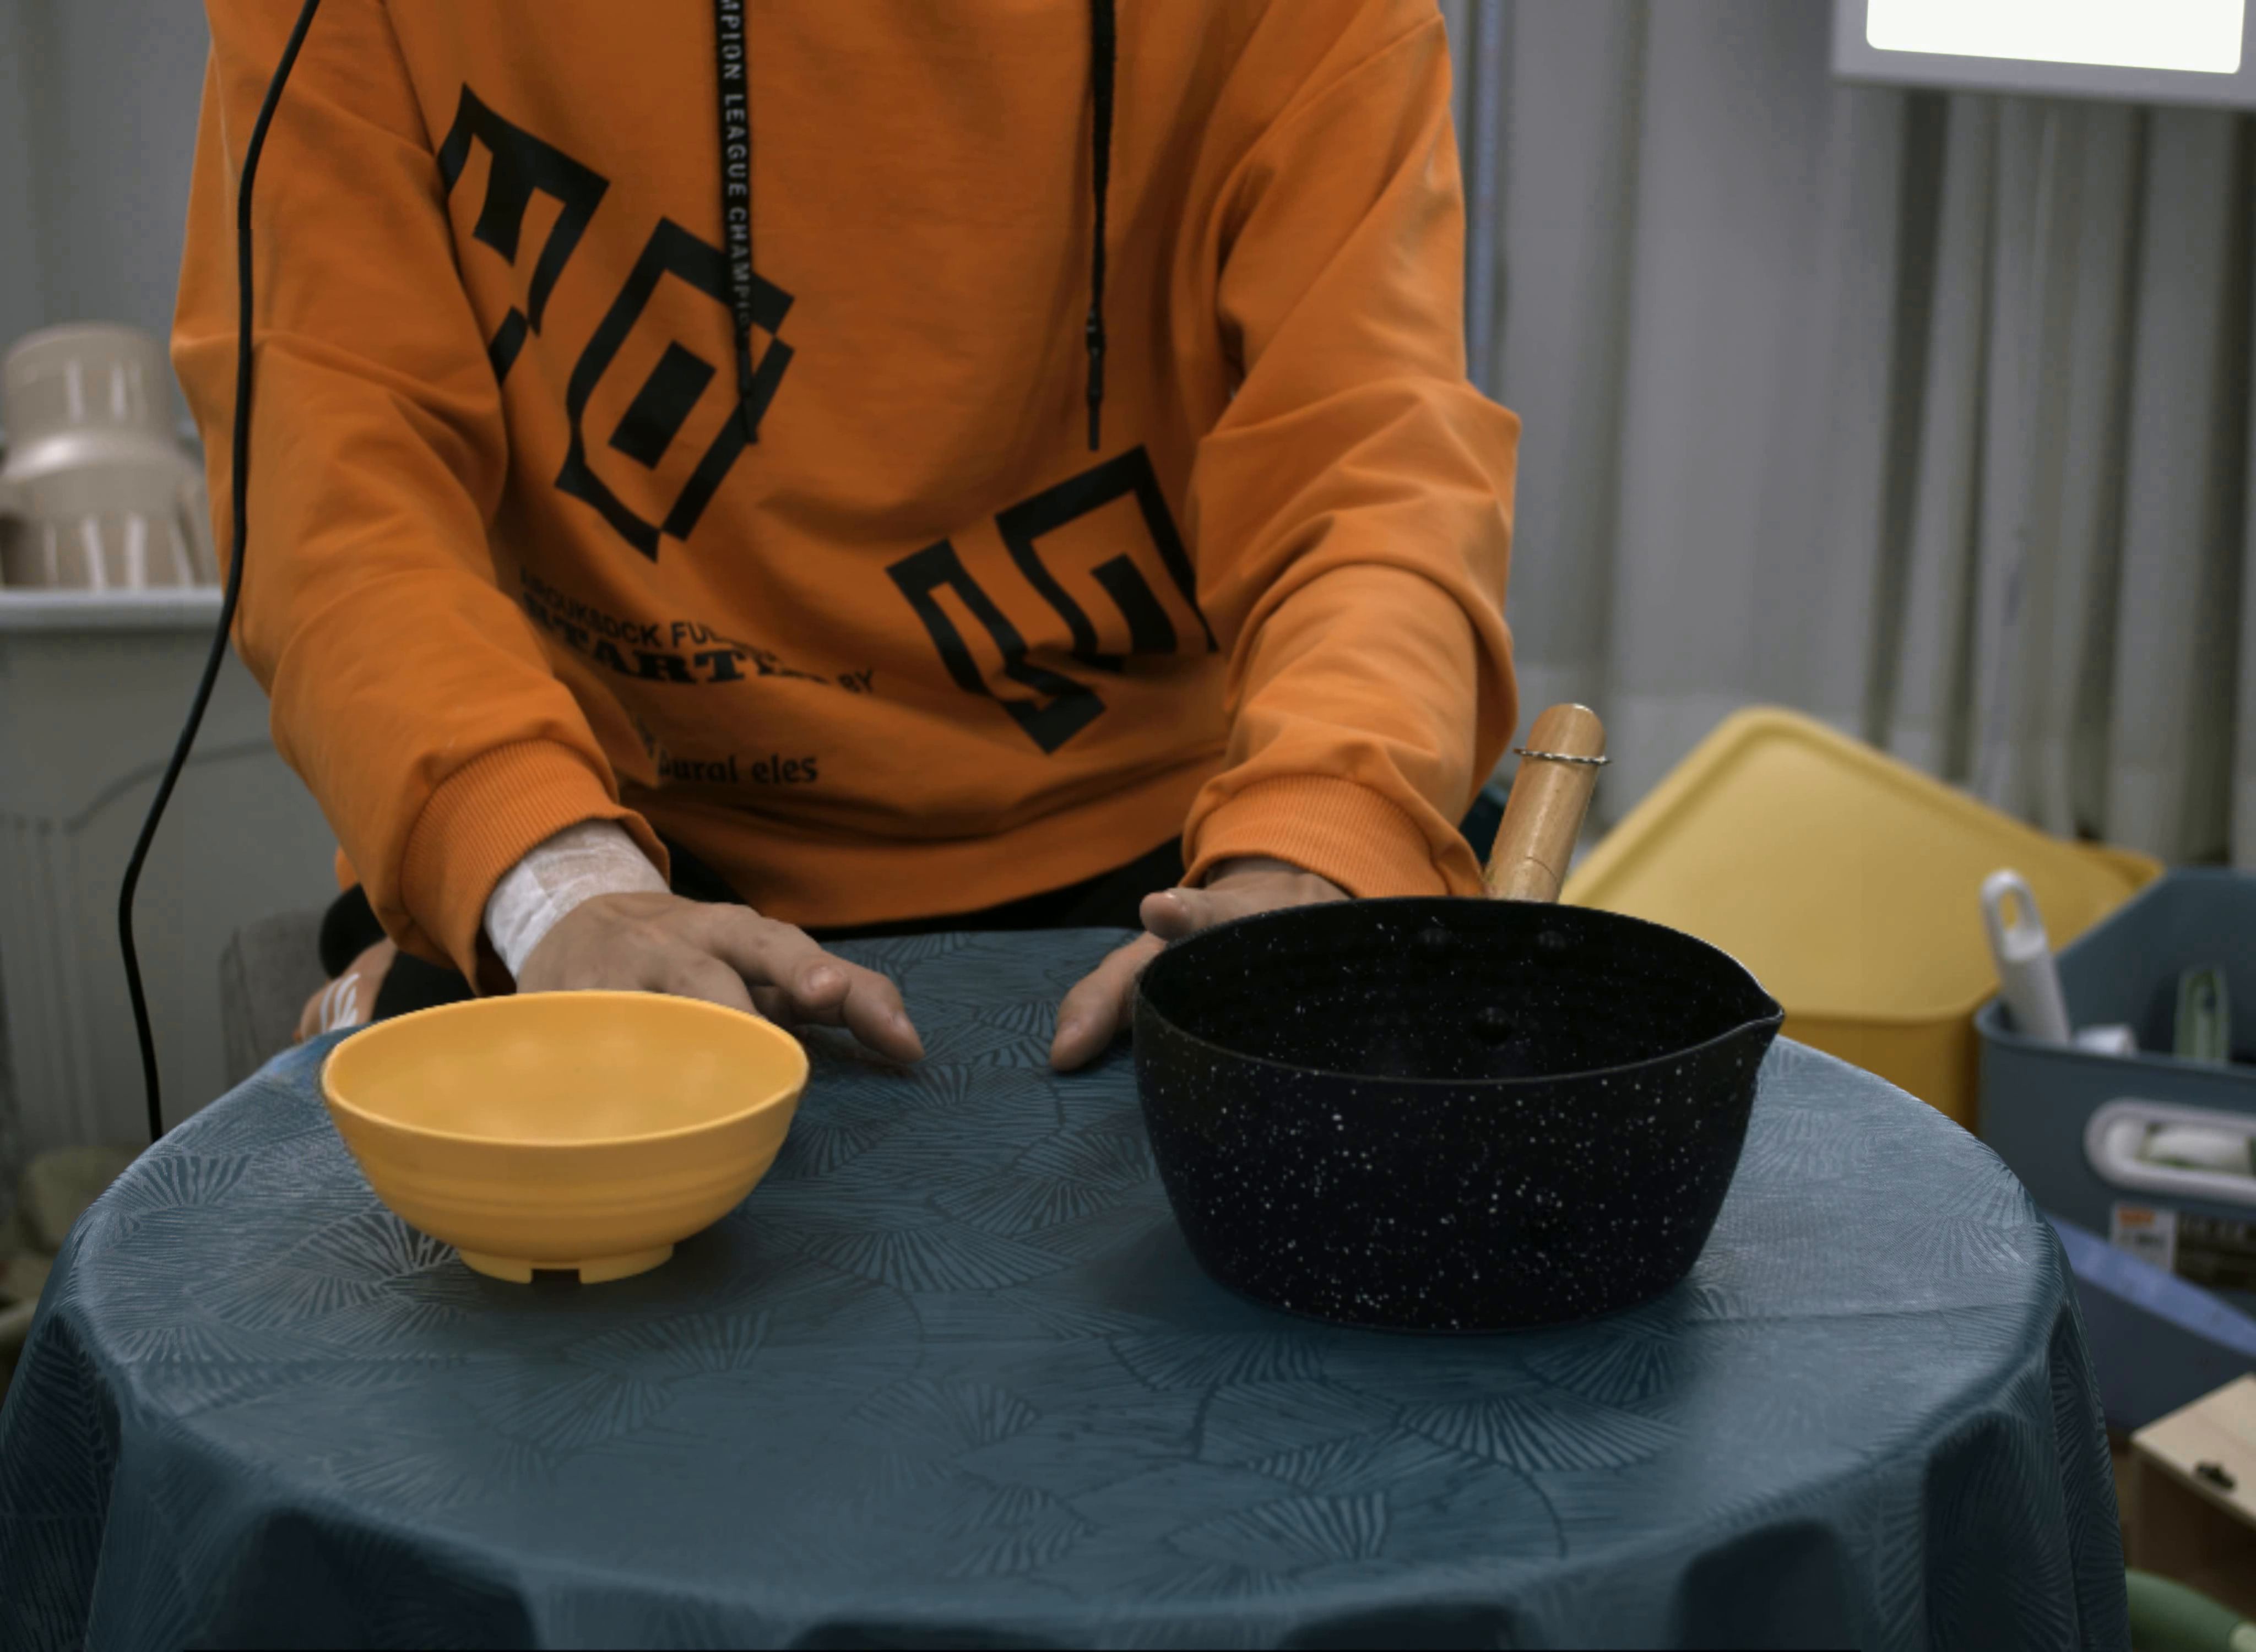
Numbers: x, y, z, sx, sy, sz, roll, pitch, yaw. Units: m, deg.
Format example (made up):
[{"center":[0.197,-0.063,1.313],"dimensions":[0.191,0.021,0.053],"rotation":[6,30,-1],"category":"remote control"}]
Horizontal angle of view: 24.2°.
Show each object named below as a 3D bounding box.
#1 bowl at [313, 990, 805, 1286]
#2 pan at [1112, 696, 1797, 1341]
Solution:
[{"center":[-0.168,0.098,1.562],"dimensions":[0.145,0.060,0.144],"rotation":[2,15,0],"category":"bowl"},{"center":[0.111,0.054,1.633],"dimensions":[0.206,0.109,0.342],"rotation":[2,17,12],"category":"pan"}]
